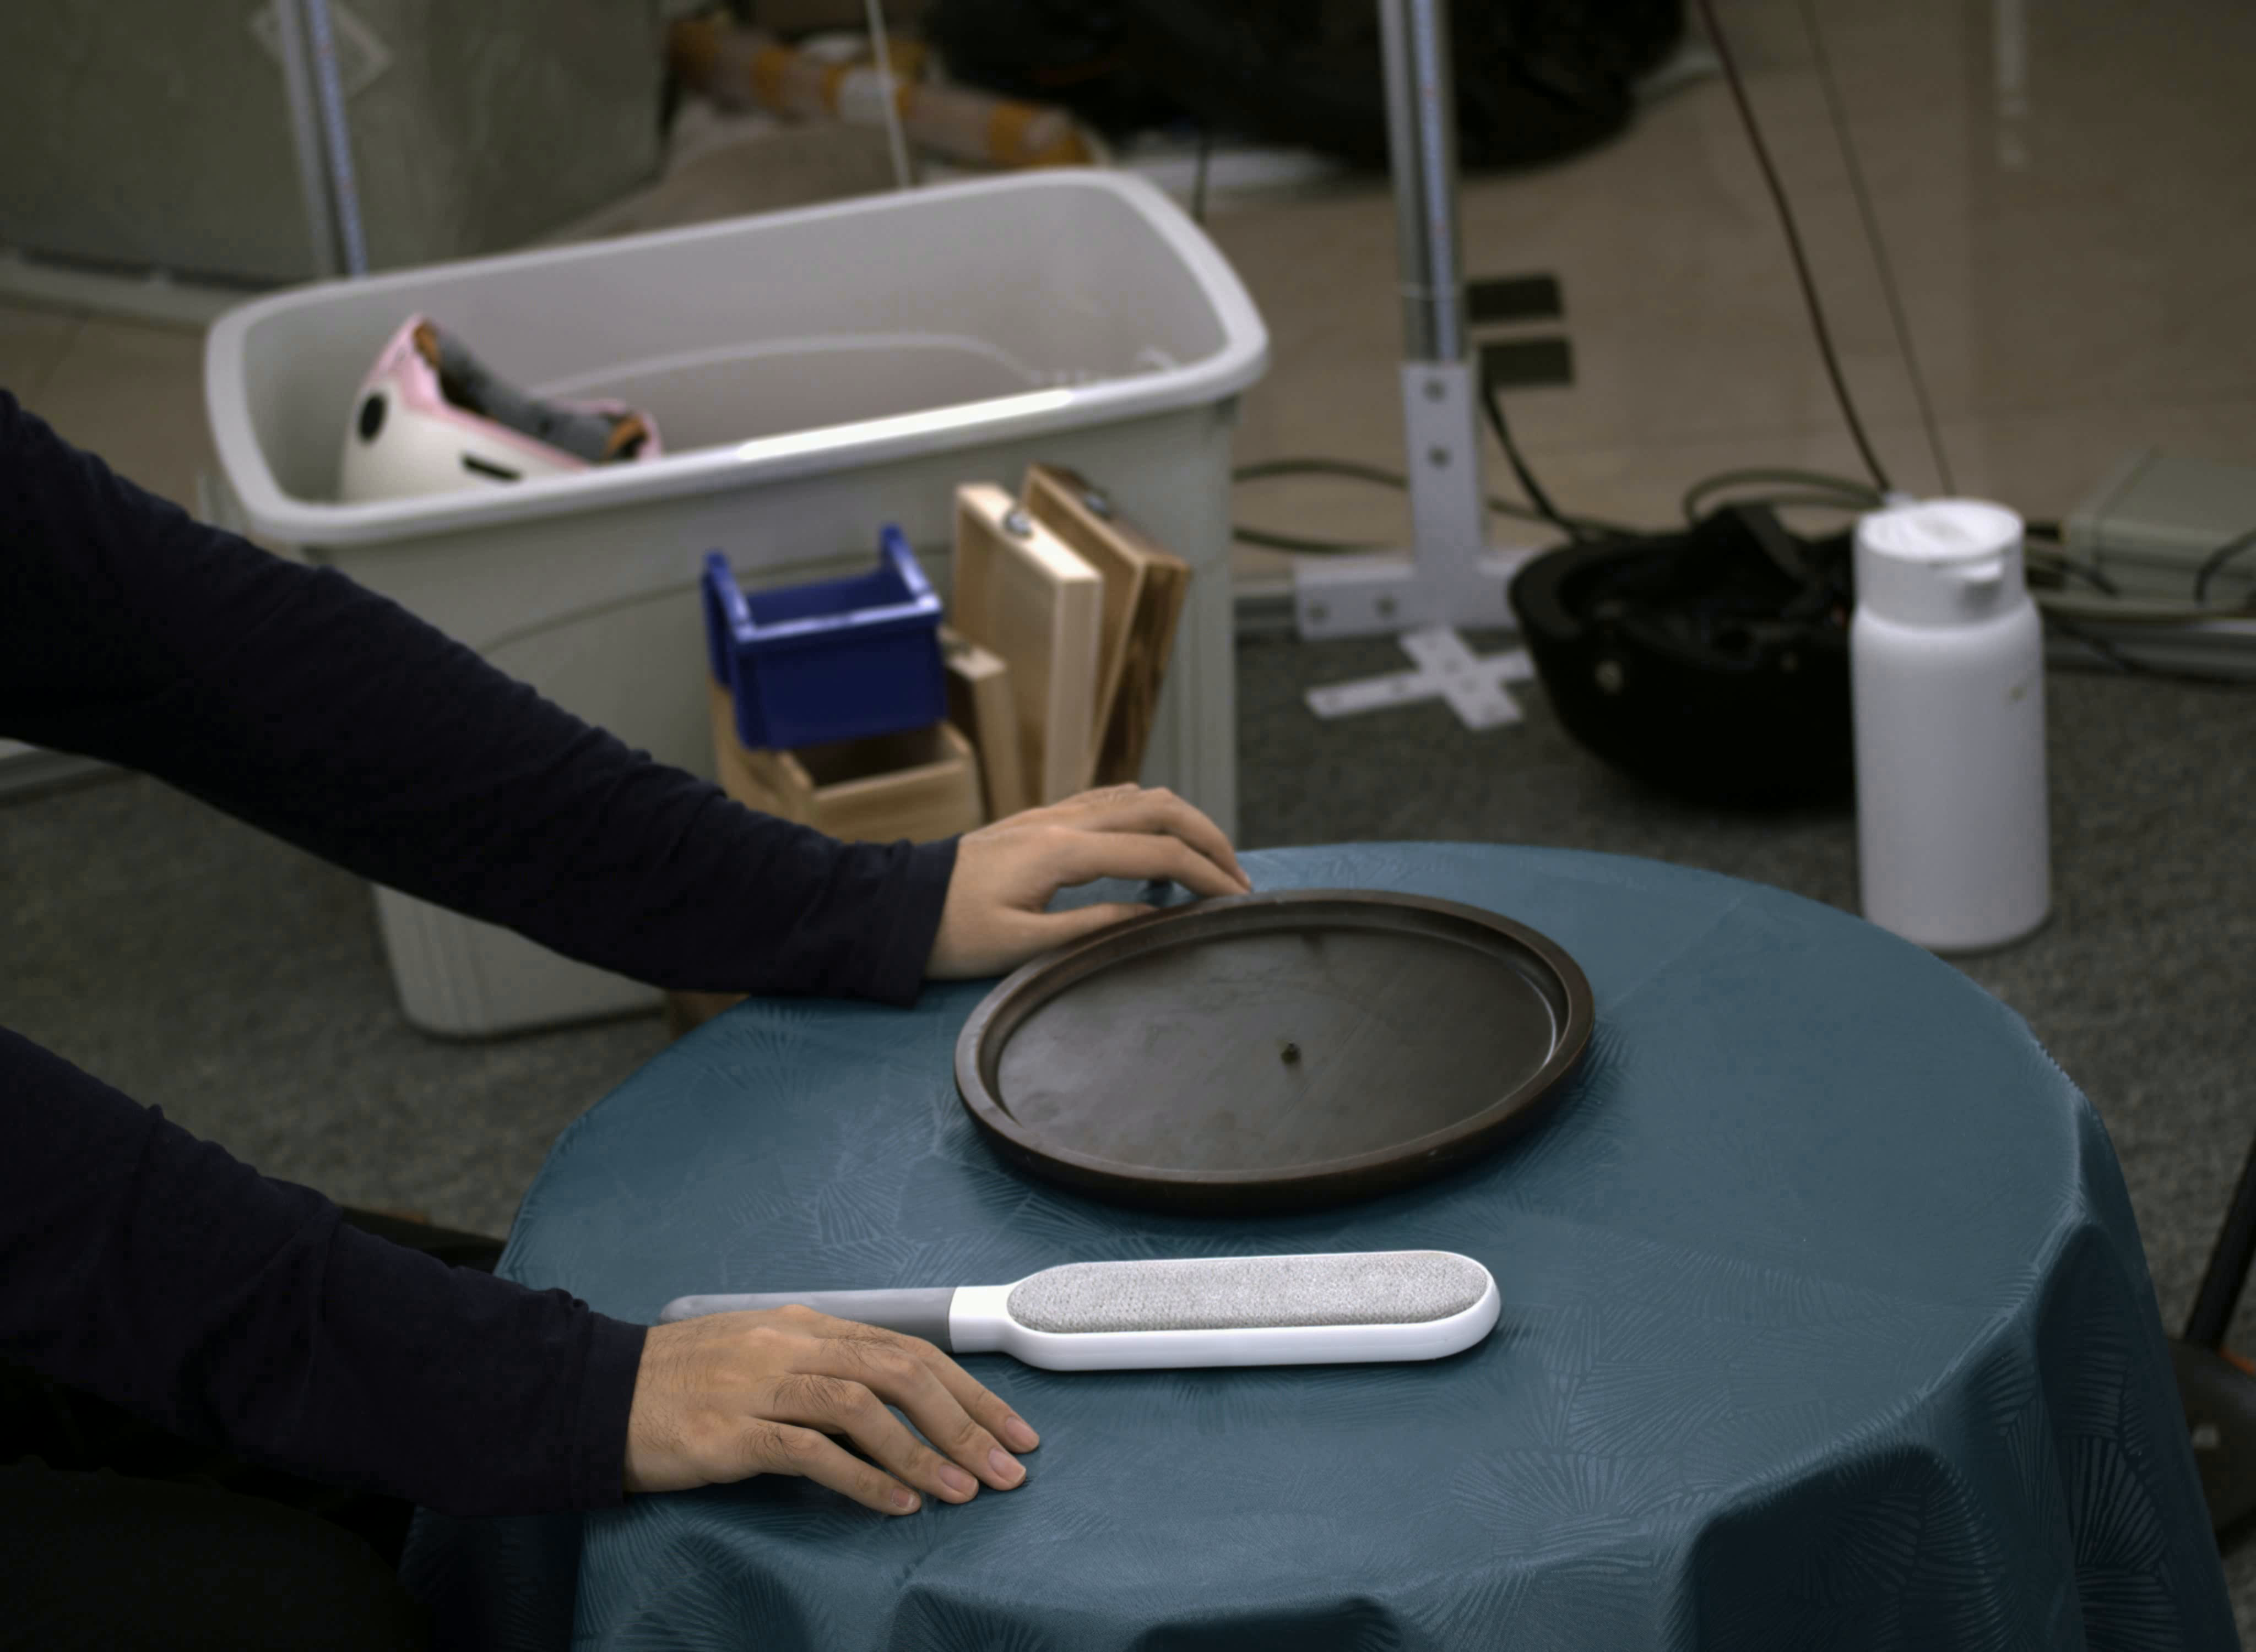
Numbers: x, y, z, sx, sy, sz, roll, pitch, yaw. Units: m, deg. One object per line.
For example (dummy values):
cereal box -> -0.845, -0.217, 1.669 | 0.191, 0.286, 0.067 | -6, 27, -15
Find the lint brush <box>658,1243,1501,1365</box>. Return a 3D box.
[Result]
lint brush -> -0.020, 0.173, 2.049 | 0.308, 0.021, 0.059 | -2, 31, 10

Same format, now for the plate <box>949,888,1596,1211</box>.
plate -> 0.057, 0.086, 2.221 | 0.254, 0.029, 0.251 | -5, 23, 2
